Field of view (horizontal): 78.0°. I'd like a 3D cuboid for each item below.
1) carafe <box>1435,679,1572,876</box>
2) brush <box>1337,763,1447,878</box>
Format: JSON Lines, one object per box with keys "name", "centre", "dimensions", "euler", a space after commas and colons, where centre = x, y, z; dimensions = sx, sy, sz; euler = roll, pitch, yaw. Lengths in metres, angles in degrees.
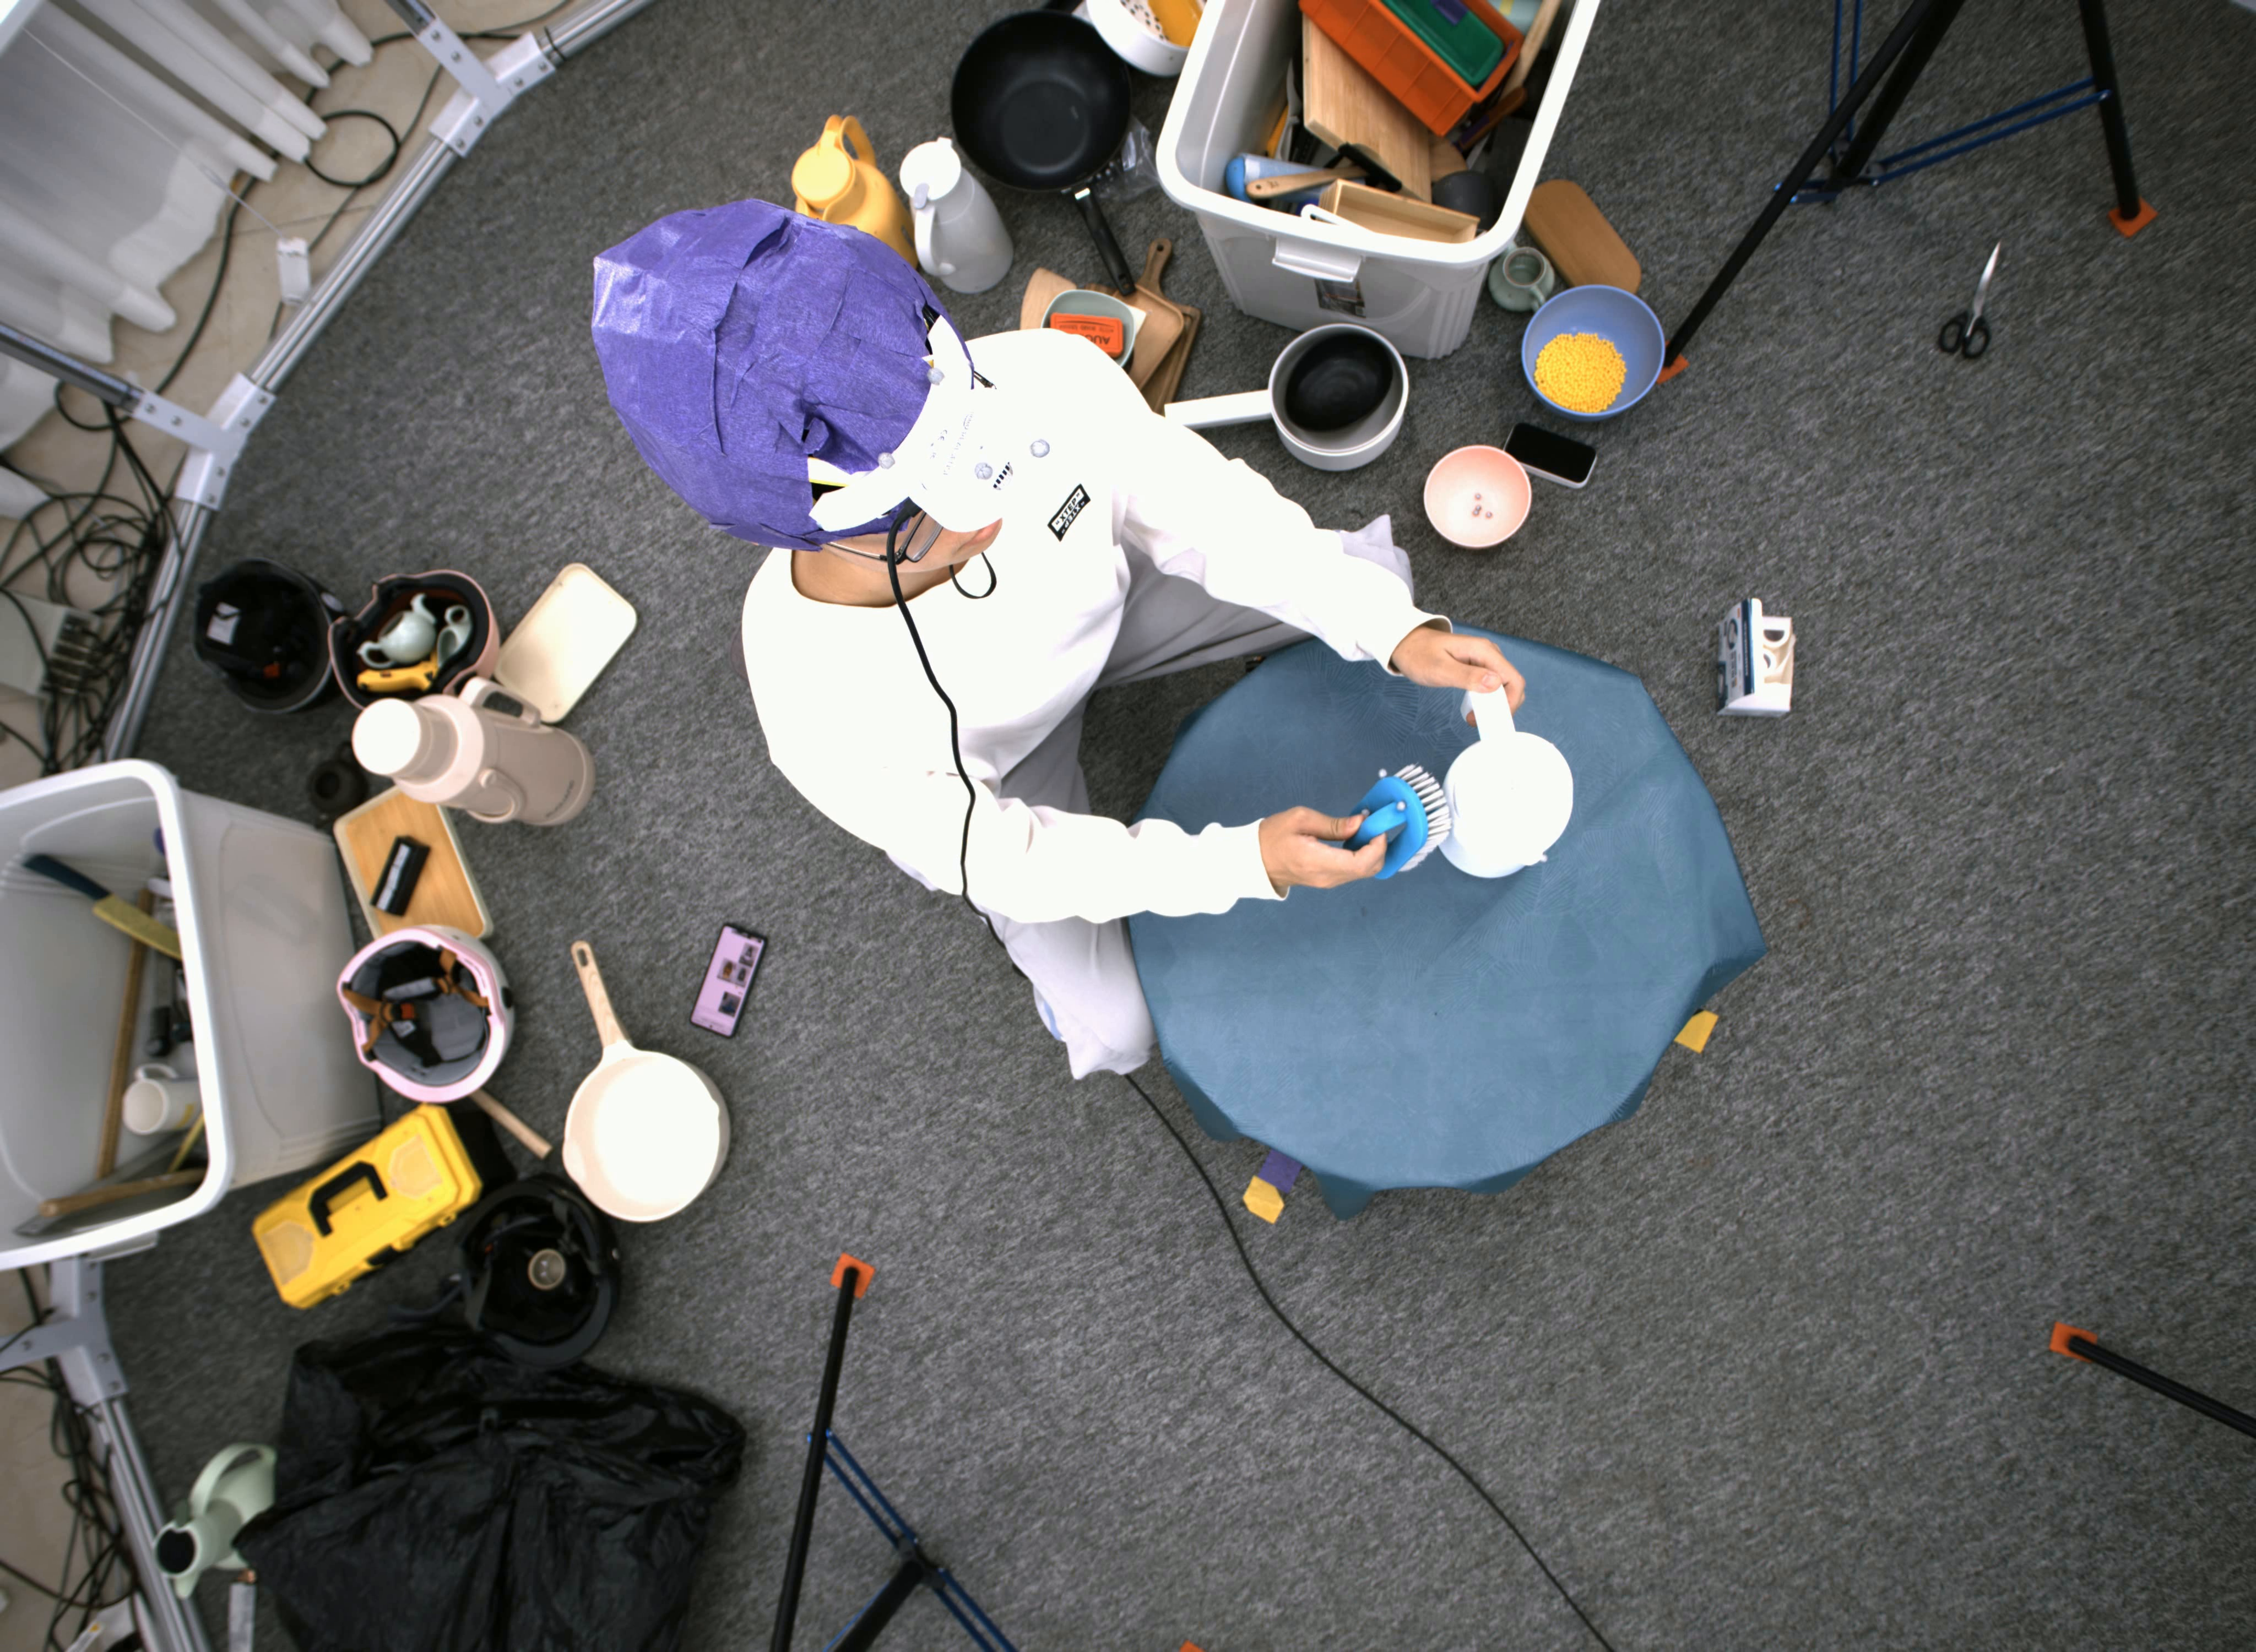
{"name": "carafe", "centre": [0.351, -0.038, 1.315], "dimensions": [0.124, 0.269, 0.171], "euler": [-14, 82, 10]}
{"name": "brush", "centre": [0.232, 0.002, 1.273], "dimensions": [0.063, 0.144, 0.084], "euler": [-28, 79, -21]}
